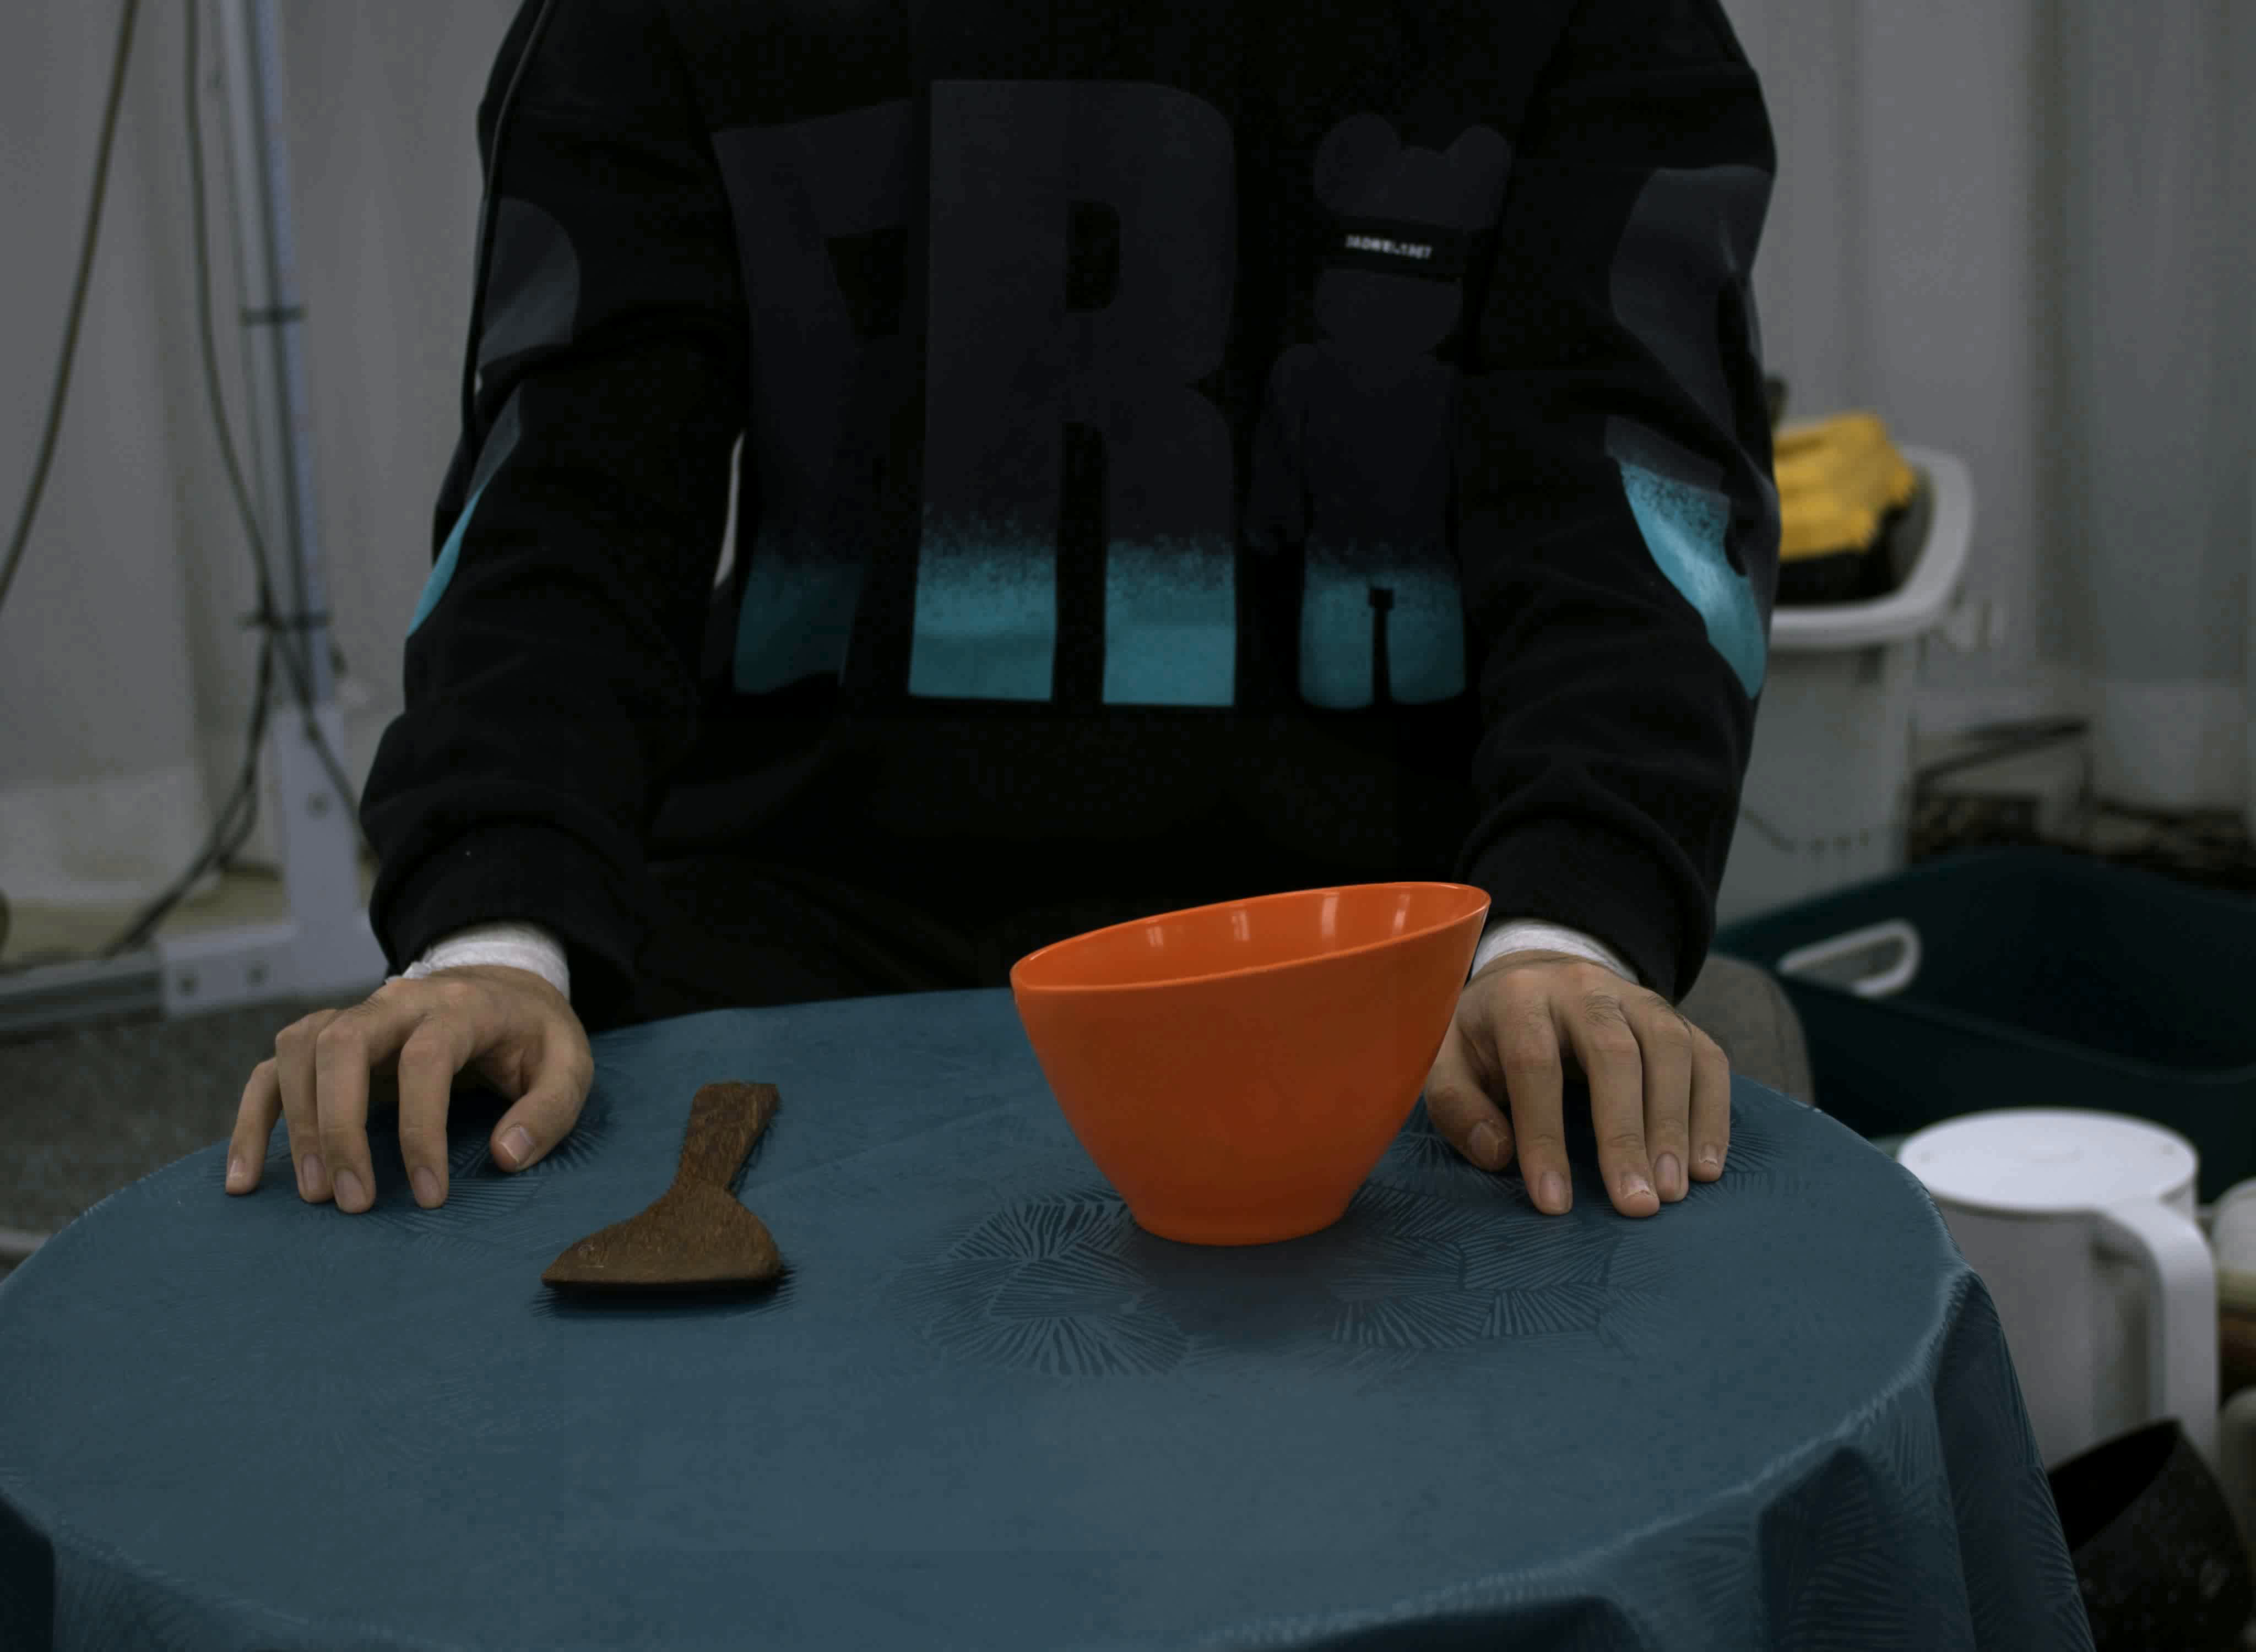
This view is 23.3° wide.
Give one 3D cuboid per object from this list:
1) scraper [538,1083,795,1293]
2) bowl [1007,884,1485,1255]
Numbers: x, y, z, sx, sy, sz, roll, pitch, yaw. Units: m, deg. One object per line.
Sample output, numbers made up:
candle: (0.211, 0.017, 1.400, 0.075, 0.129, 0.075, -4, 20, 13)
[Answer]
scraper: (-0.134, 0.114, 1.728, 0.075, 0.011, 0.212, -1, 14, 4)
bowl: (0.038, 0.074, 1.669, 0.147, 0.104, 0.149, -5, 14, 1)
